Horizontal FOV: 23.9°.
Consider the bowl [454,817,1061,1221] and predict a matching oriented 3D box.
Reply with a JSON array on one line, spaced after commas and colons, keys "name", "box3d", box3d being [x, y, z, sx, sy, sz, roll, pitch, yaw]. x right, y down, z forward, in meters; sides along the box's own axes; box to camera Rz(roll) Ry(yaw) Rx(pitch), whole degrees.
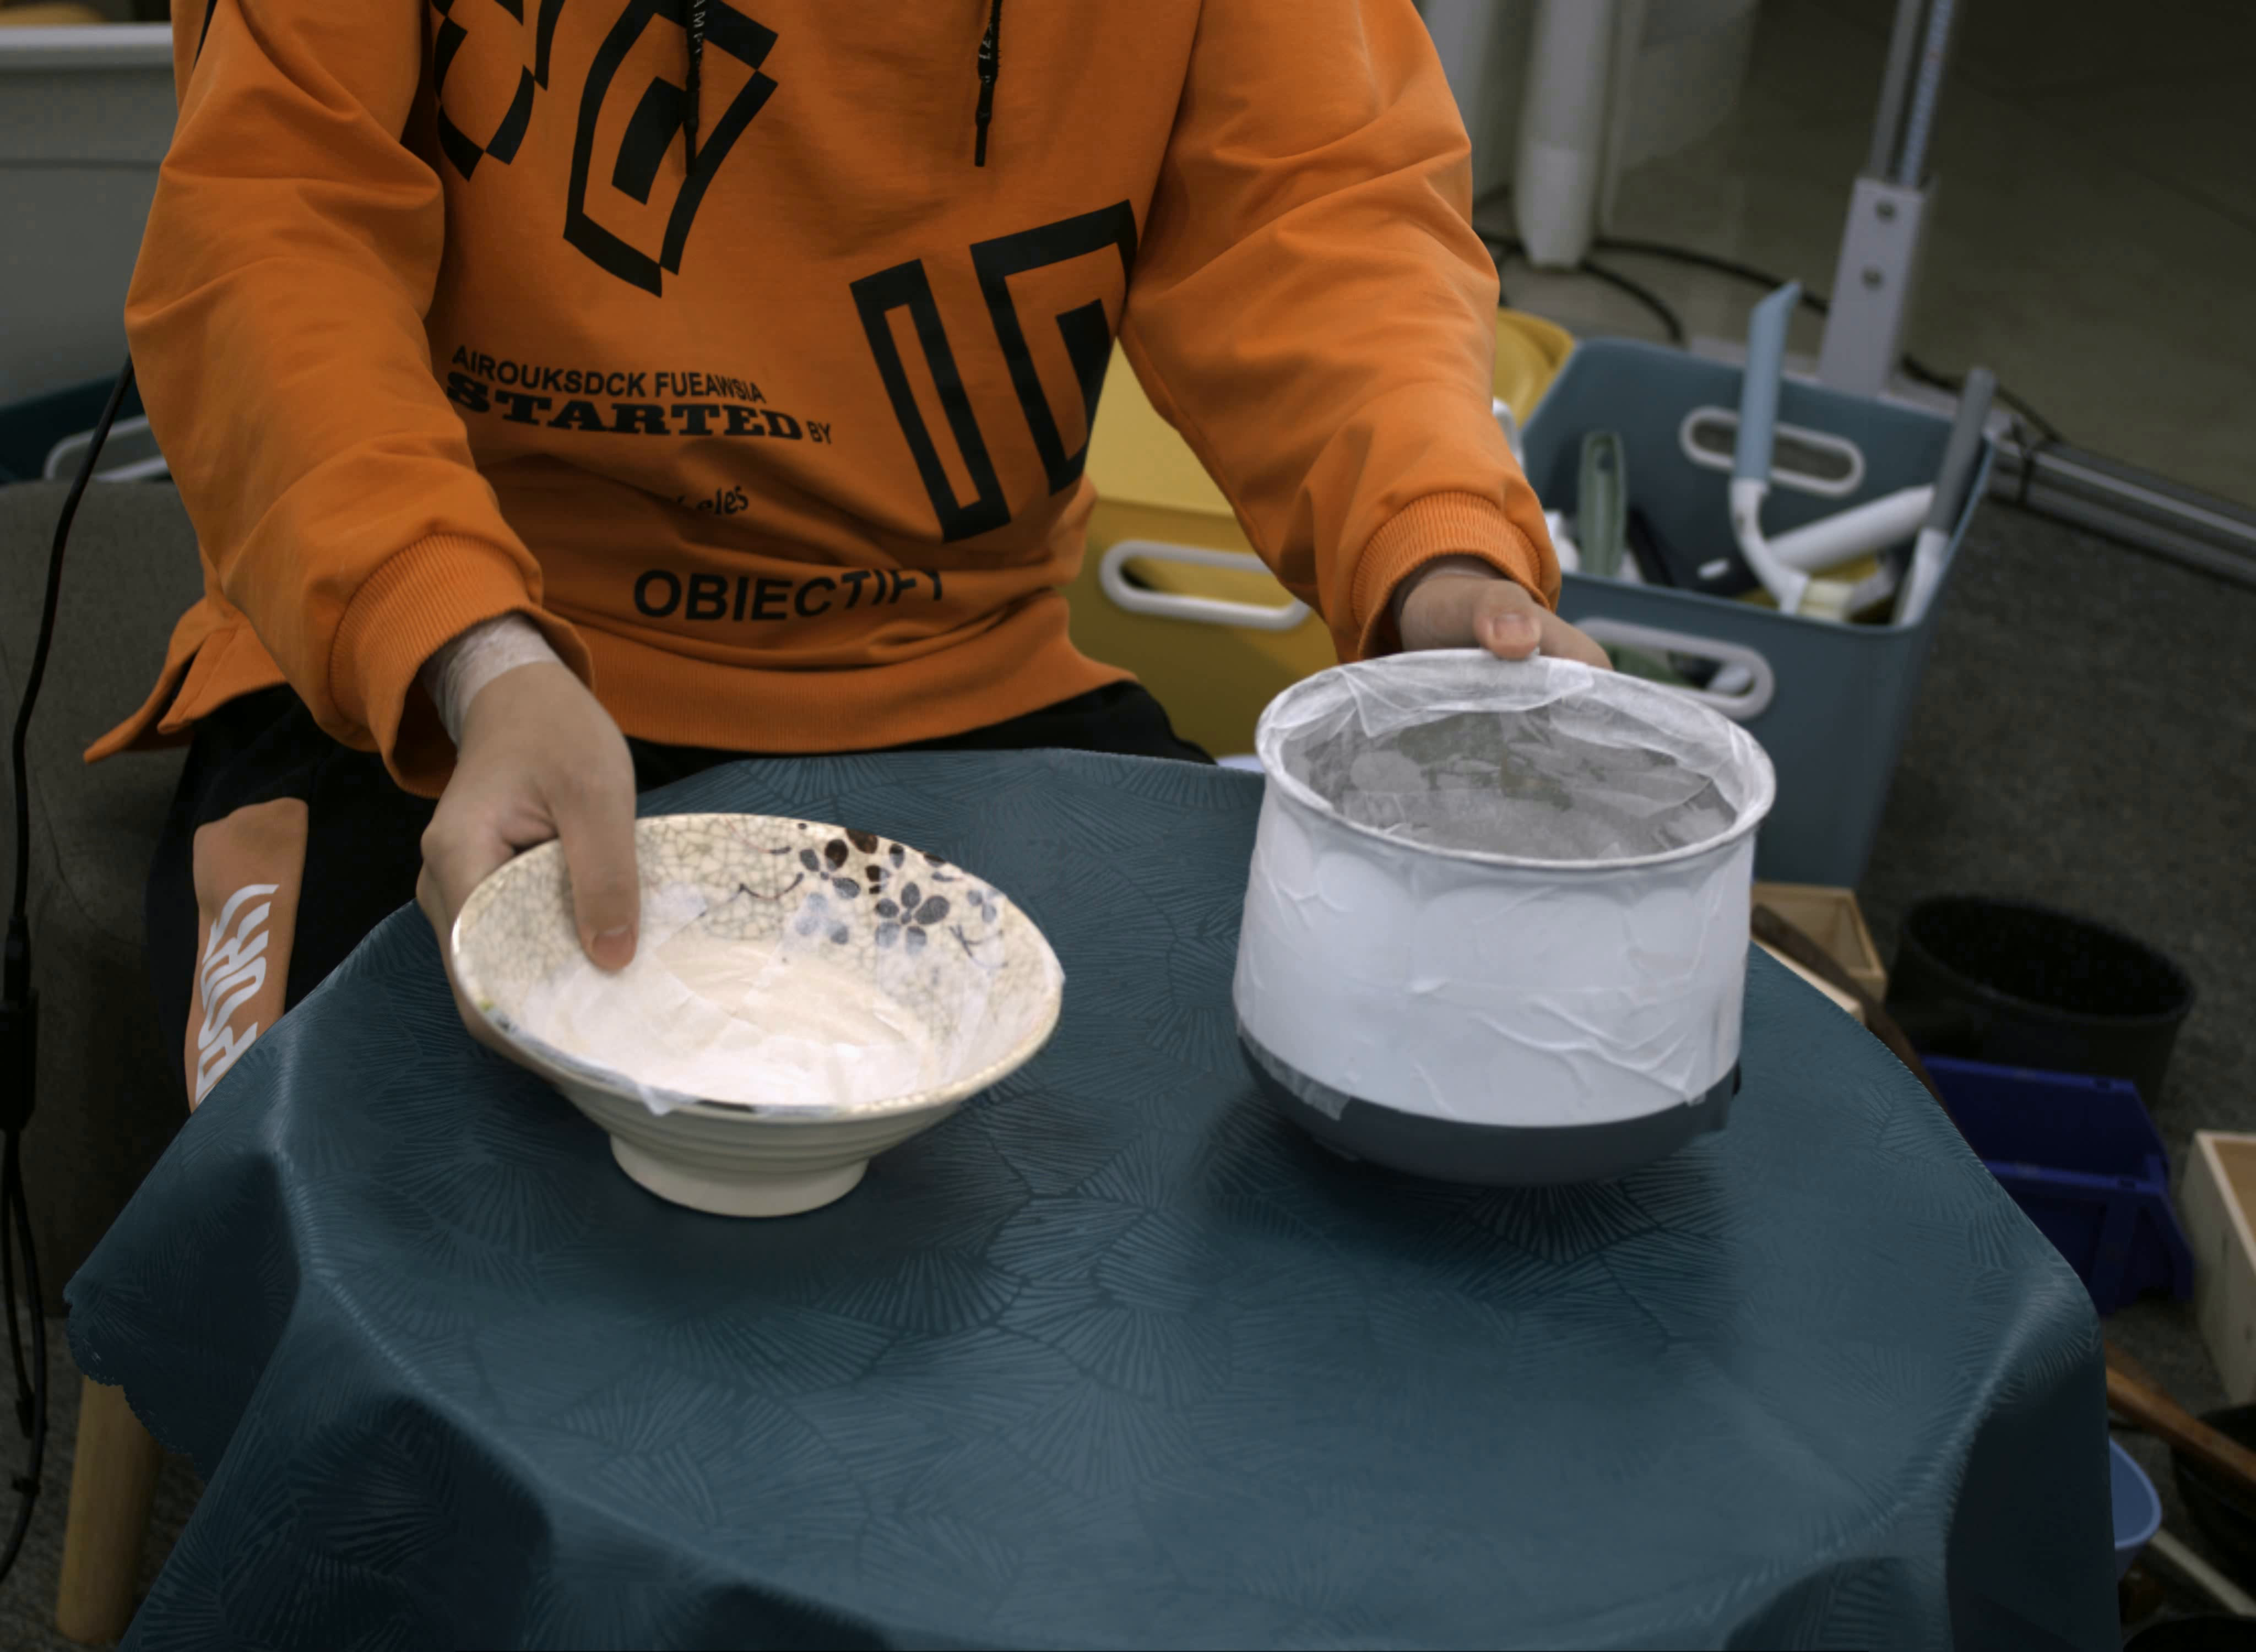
[{"name": "bowl", "box3d": [-0.127, 0.077, 1.777, 0.203, 0.078, 0.205, 8, 25, -4]}]

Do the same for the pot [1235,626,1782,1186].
[{"name": "pot", "box3d": [0.127, 0.021, 1.844, 0.178, 0.136, 0.235, 5, 24, 0]}]
